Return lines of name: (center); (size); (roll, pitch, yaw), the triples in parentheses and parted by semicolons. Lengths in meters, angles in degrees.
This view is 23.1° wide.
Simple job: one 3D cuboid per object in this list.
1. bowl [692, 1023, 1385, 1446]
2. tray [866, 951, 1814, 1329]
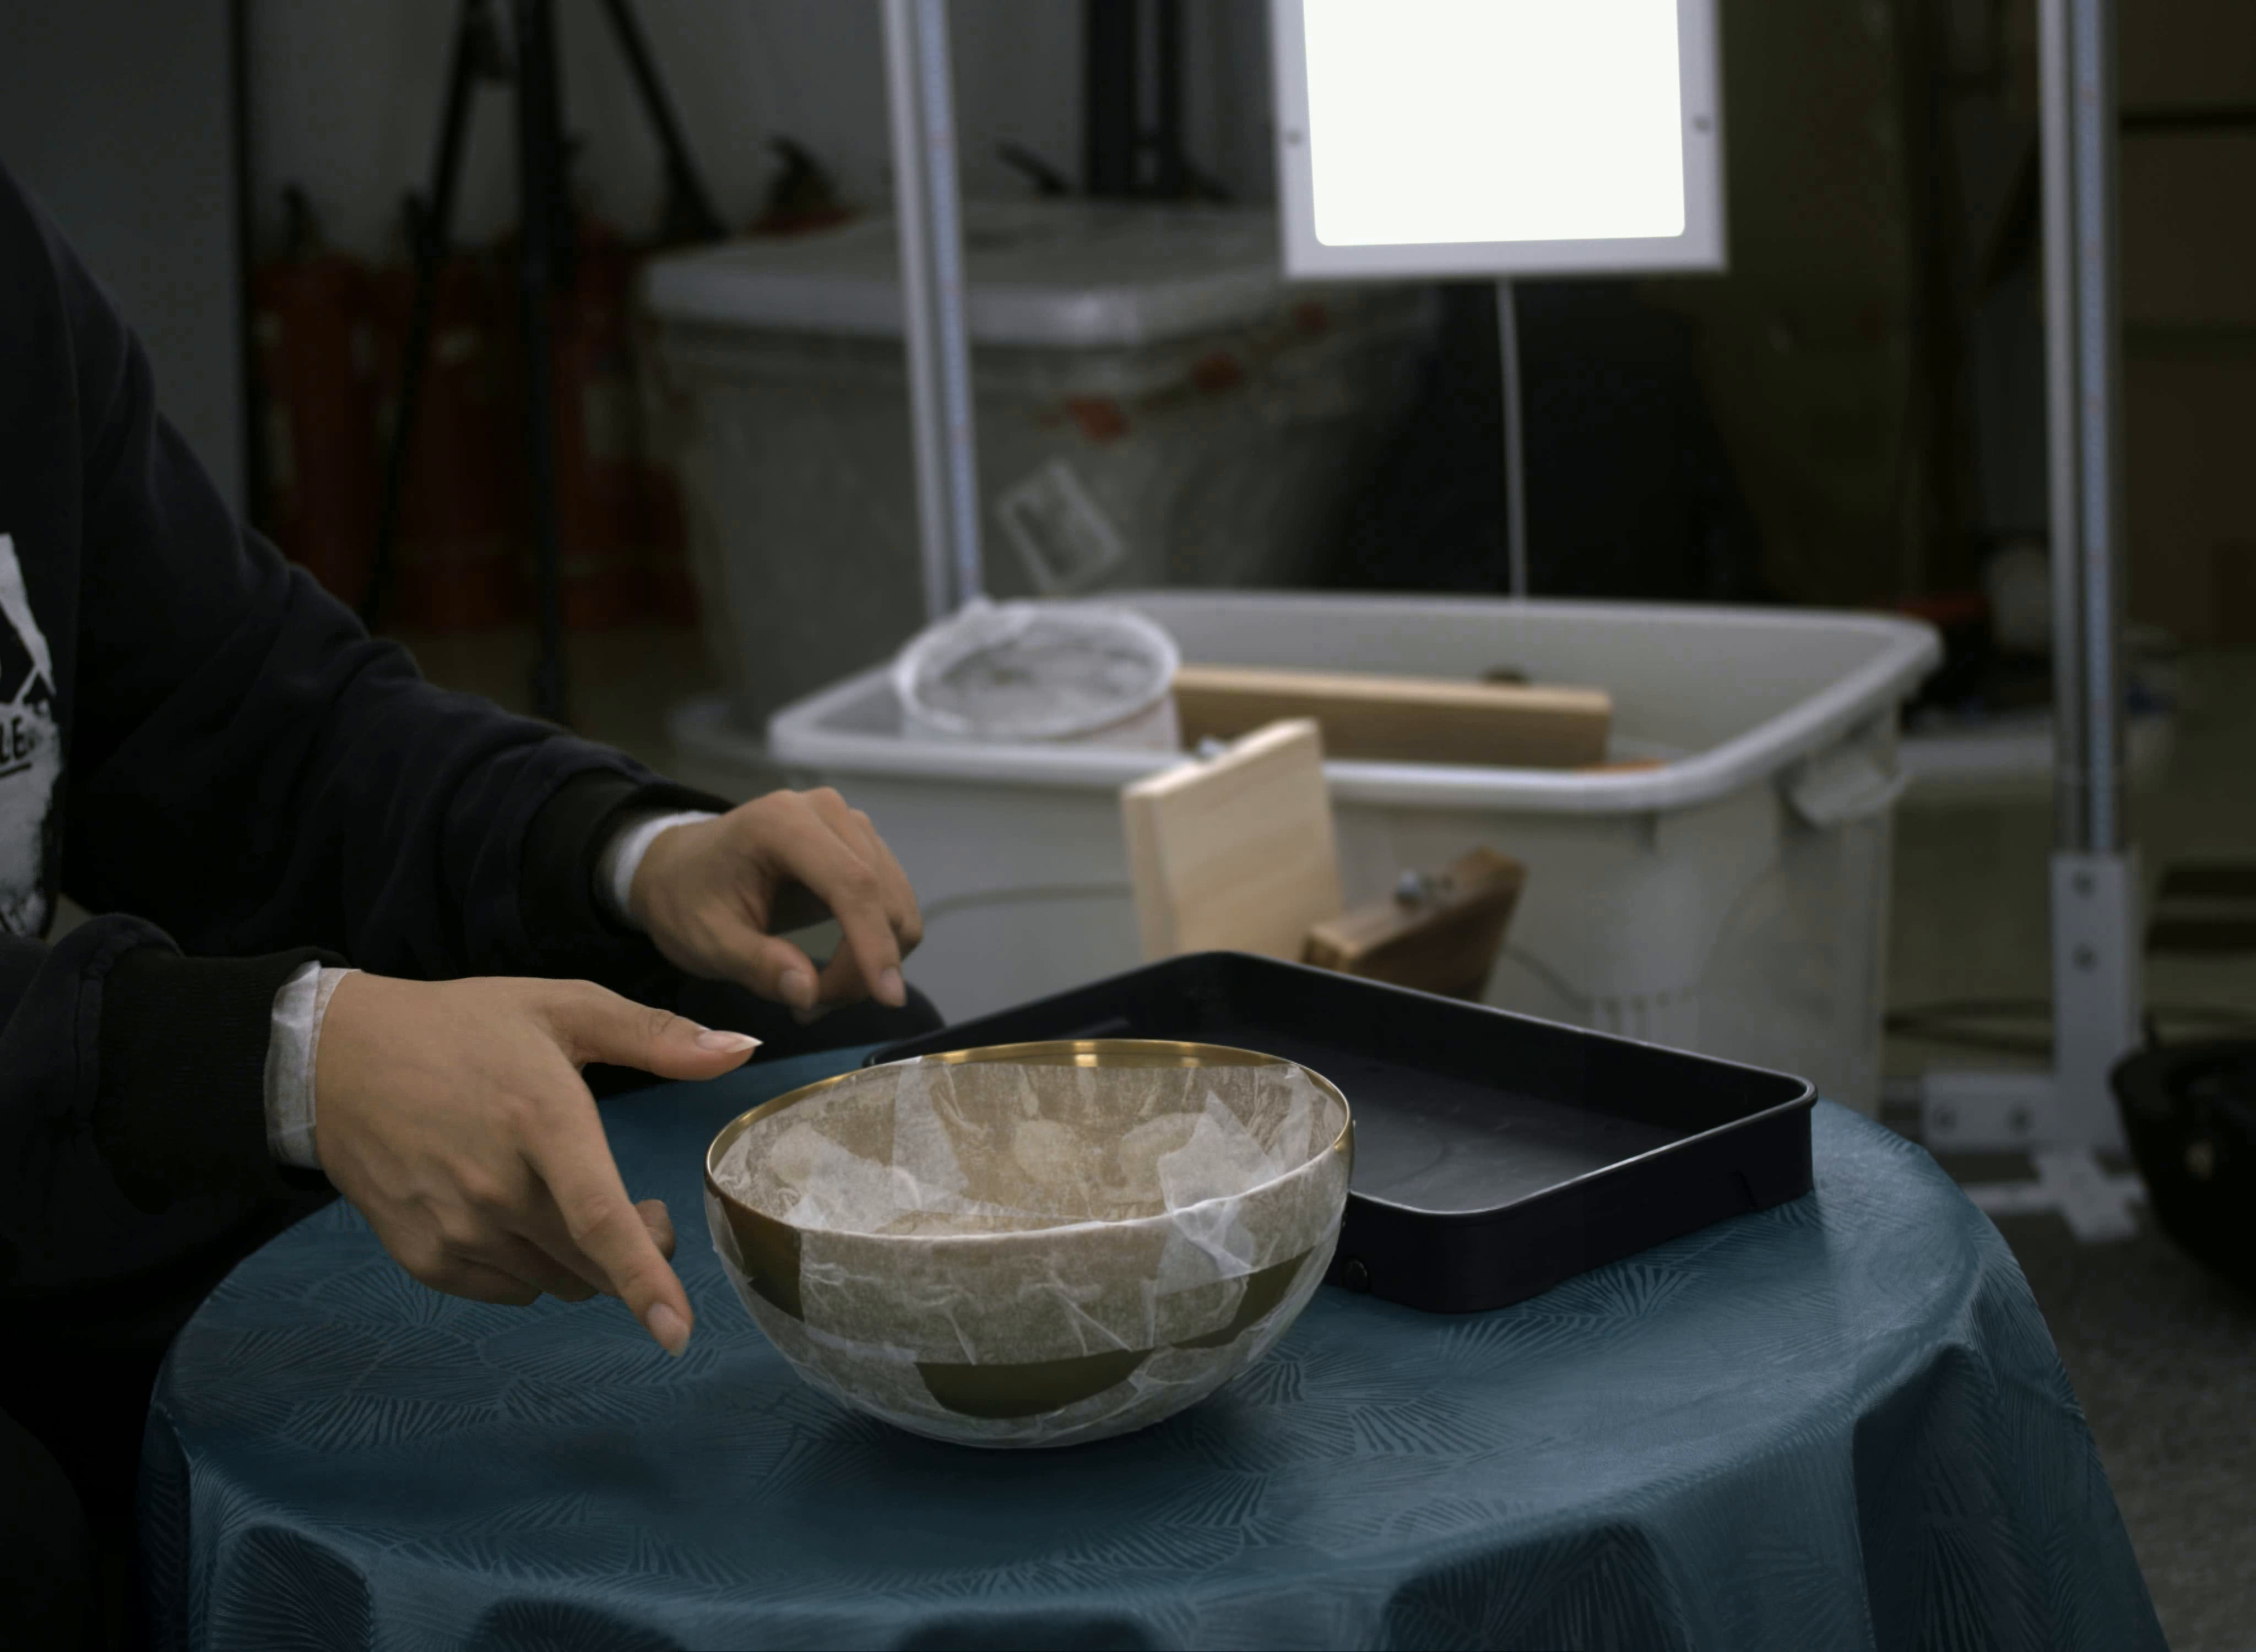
bowl: (-0.025, 0.133, 1.683); (0.214, 0.095, 0.214); (-6, 14, 0)
tray: (0.069, 0.104, 1.902); (0.180, 0.037, 0.324); (-14, 18, -36)
